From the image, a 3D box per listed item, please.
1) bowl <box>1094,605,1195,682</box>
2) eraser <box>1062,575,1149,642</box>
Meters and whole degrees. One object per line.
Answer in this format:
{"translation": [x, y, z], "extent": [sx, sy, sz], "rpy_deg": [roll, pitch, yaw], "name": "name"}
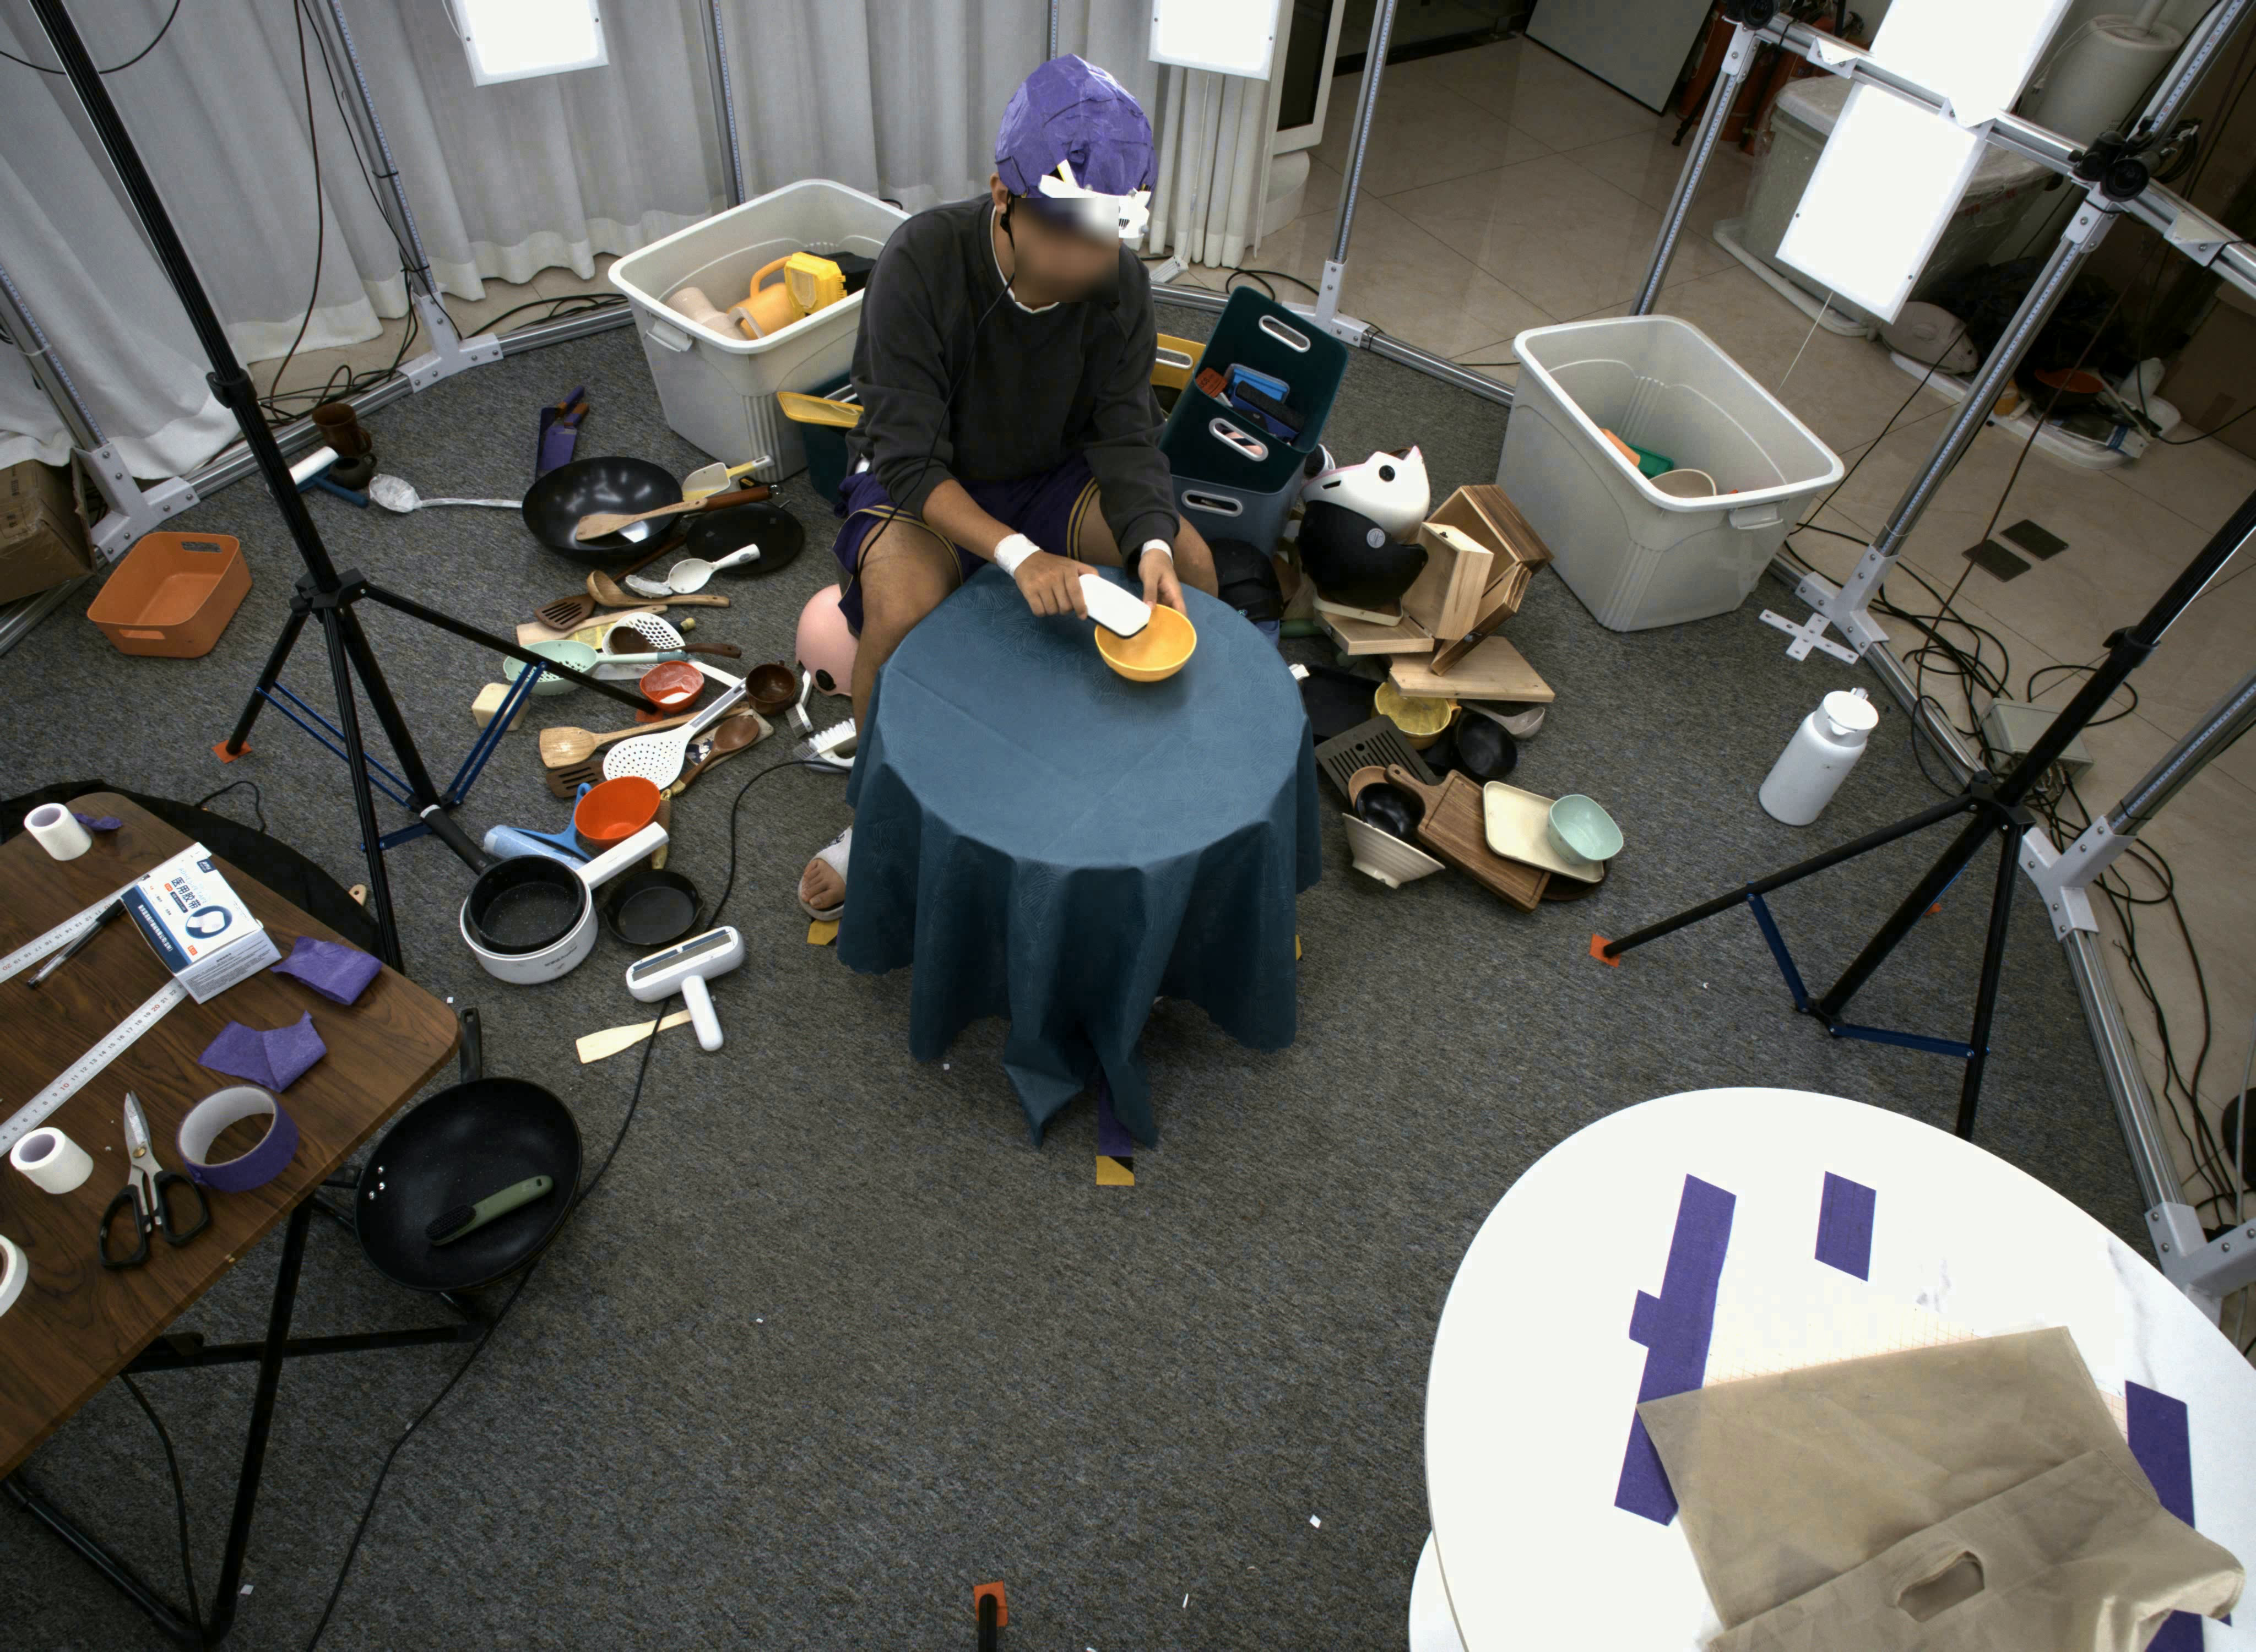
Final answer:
{"translation": [0.022, -0.252, 1.850], "extent": [0.145, 0.058, 0.149], "rpy_deg": [1, 46, -2], "name": "bowl"}
{"translation": [-0.033, -0.316, 1.844], "extent": [0.133, 0.034, 0.064], "rpy_deg": [37, 55, 25], "name": "eraser"}
